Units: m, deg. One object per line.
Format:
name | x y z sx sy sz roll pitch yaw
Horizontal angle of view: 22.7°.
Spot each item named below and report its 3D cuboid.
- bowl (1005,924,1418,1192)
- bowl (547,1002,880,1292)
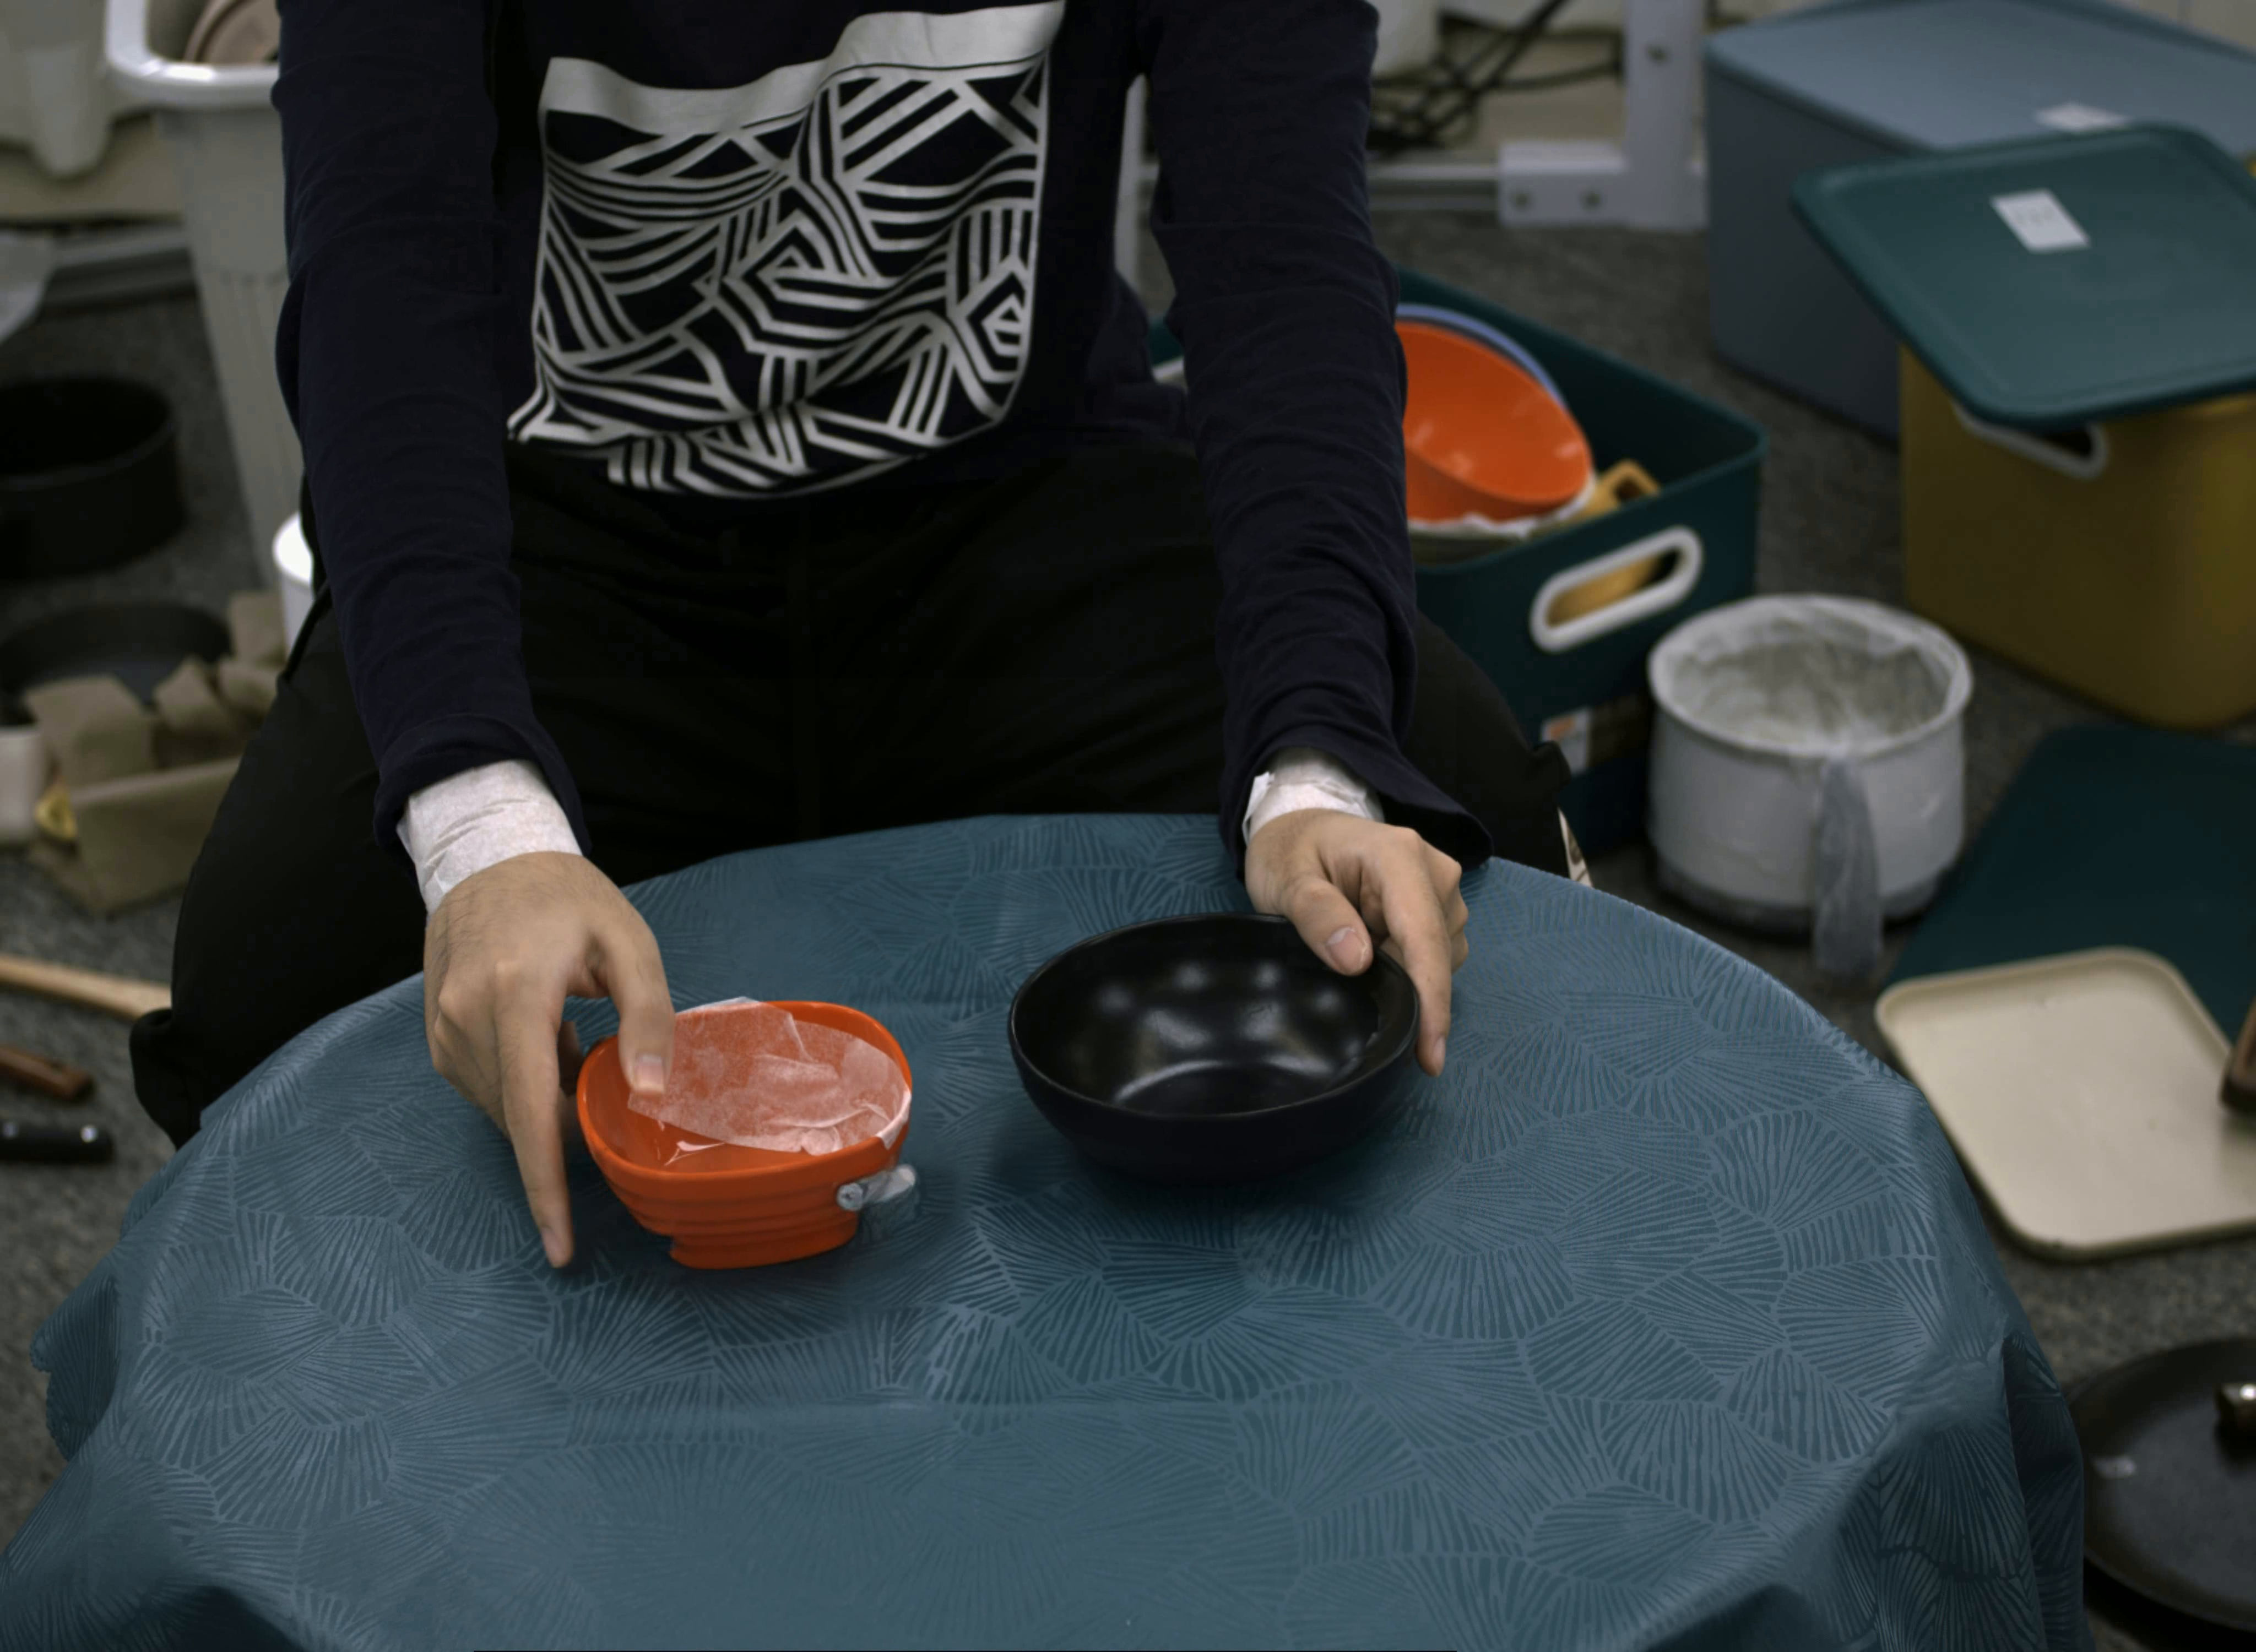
bowl | 0.029 0.085 1.882 0.139 0.049 0.142 -2 24 1
bowl | -0.134 0.112 1.858 0.118 0.051 0.121 -6 34 4
